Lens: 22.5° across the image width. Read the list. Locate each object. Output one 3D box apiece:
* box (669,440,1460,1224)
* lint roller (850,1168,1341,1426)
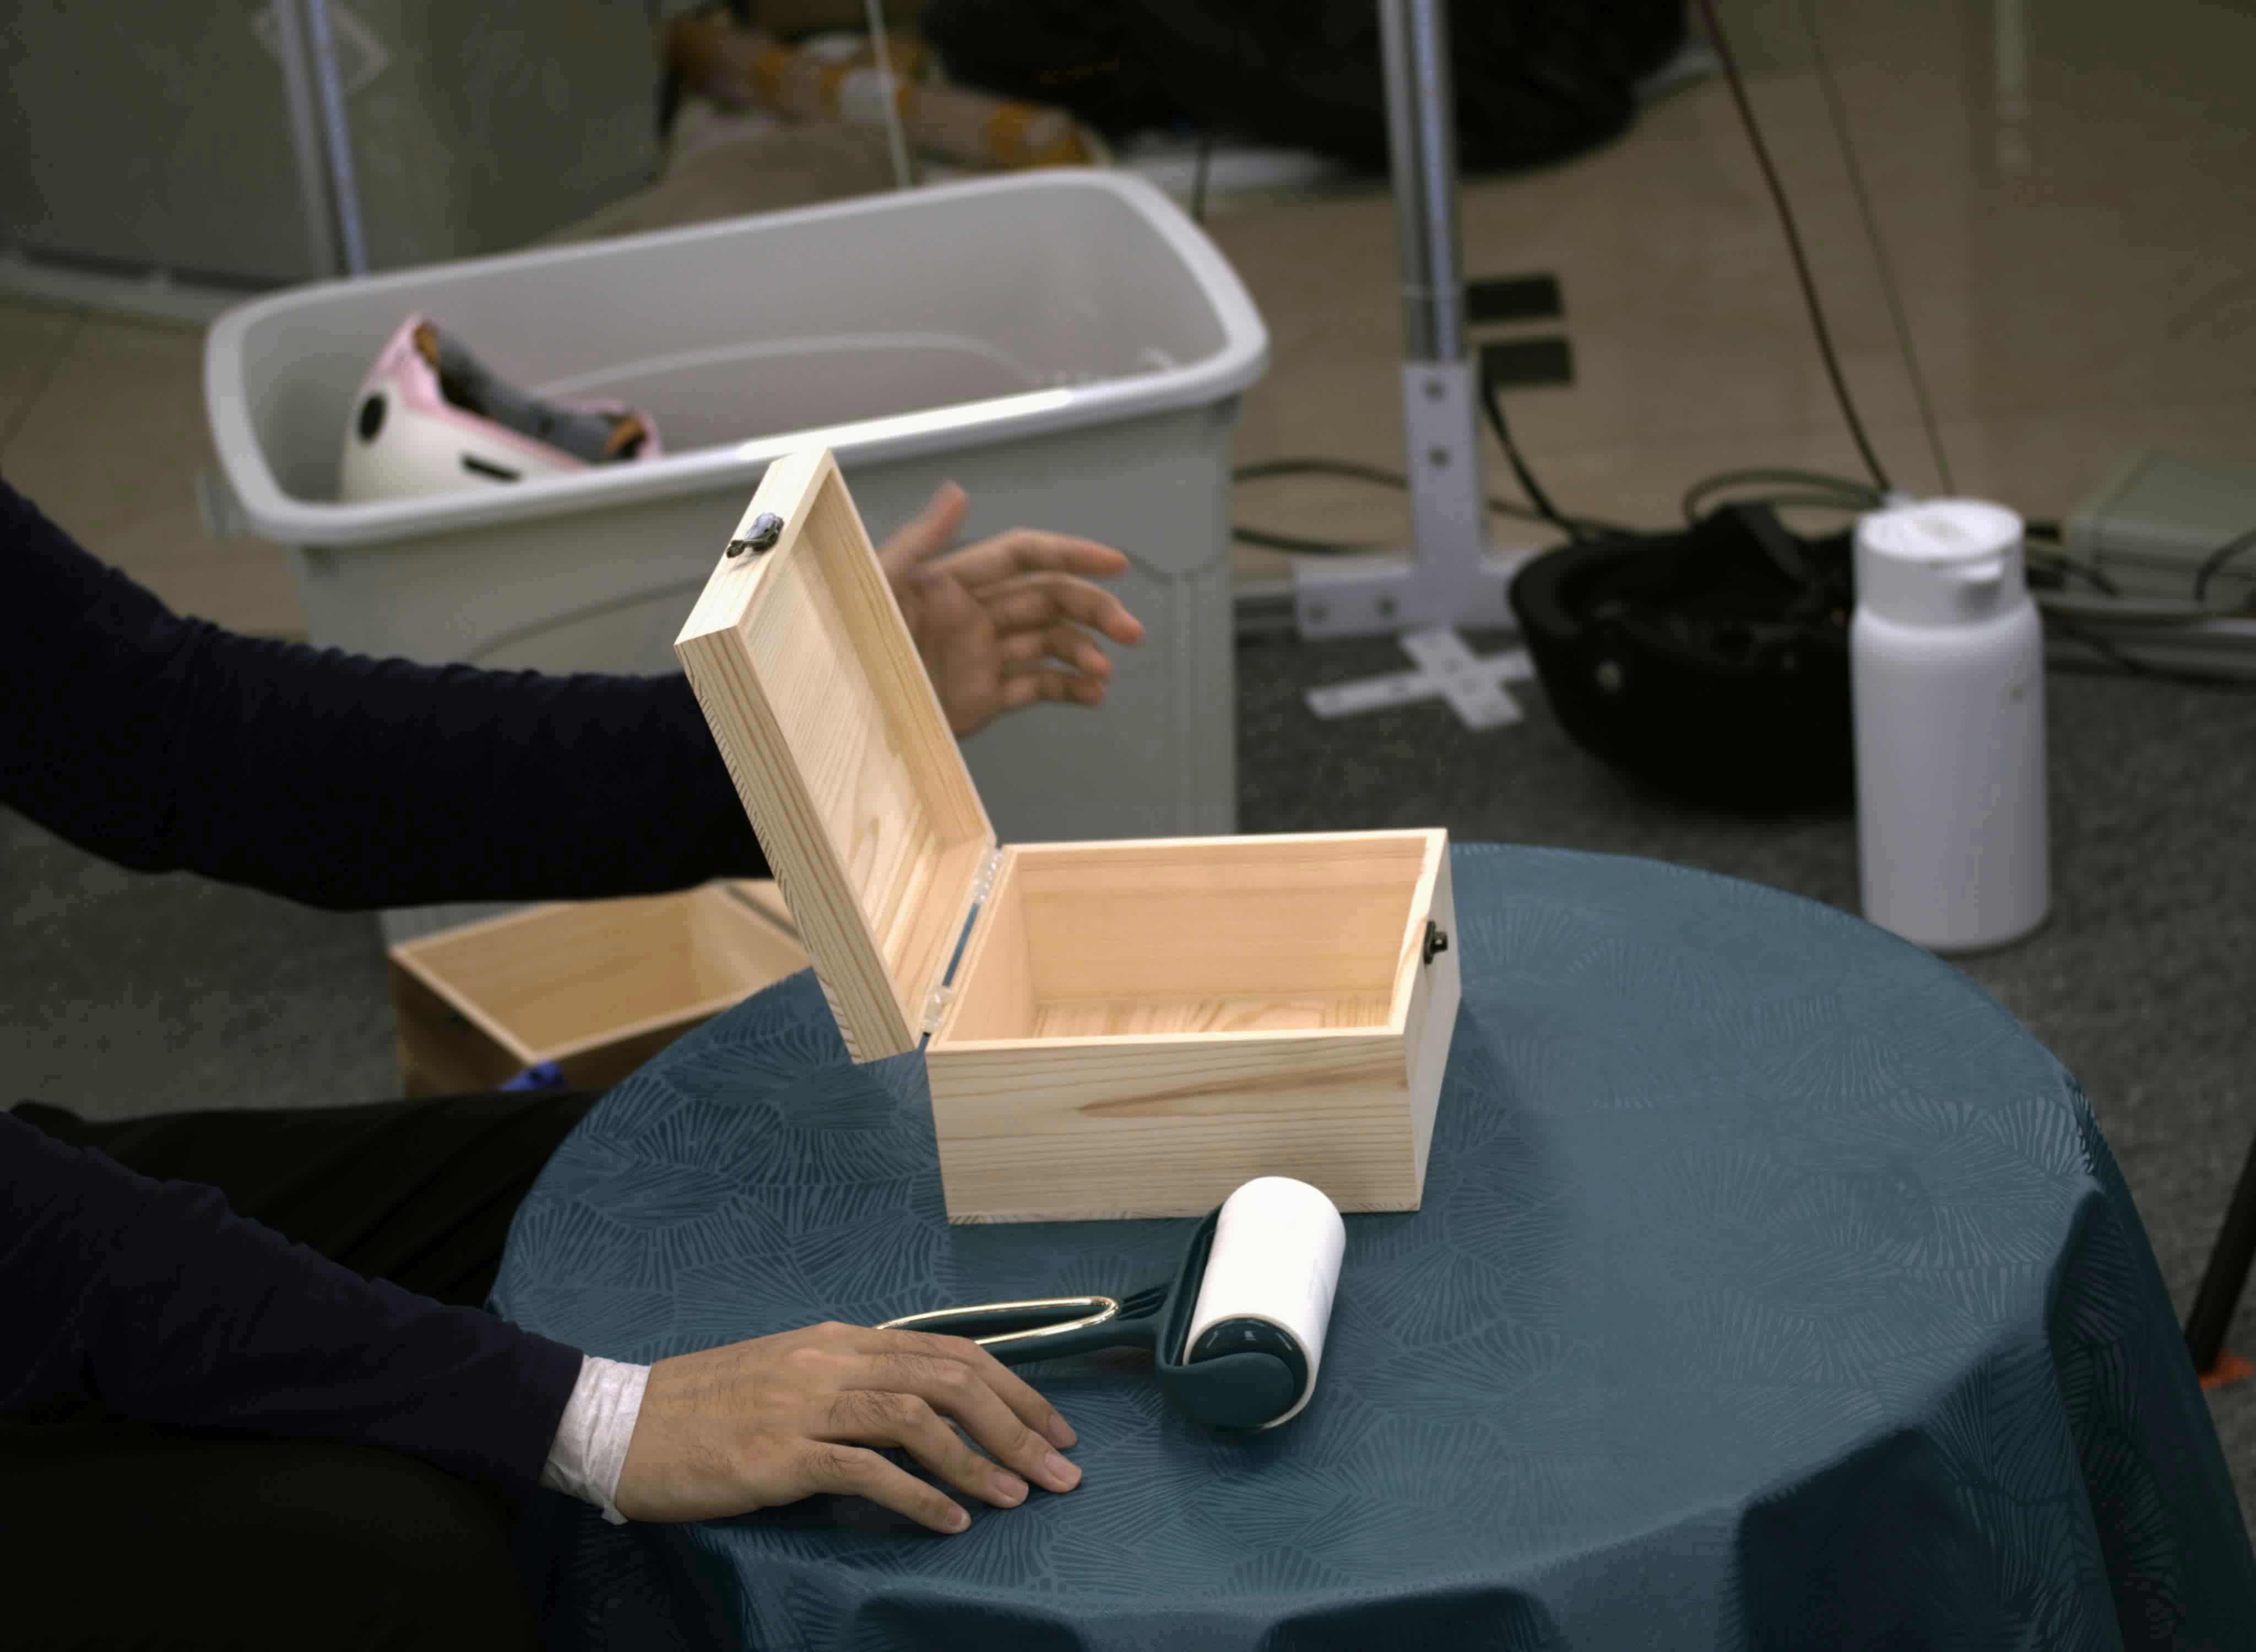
[{"bbox_3d":[-0.013,-0.003,2.159,0.264,0.257,0.179,-2,27,9],"label":"box"},{"bbox_3d":[-0.017,0.175,2.031,0.180,0.049,0.132,-6,24,12],"label":"lint roller"}]
